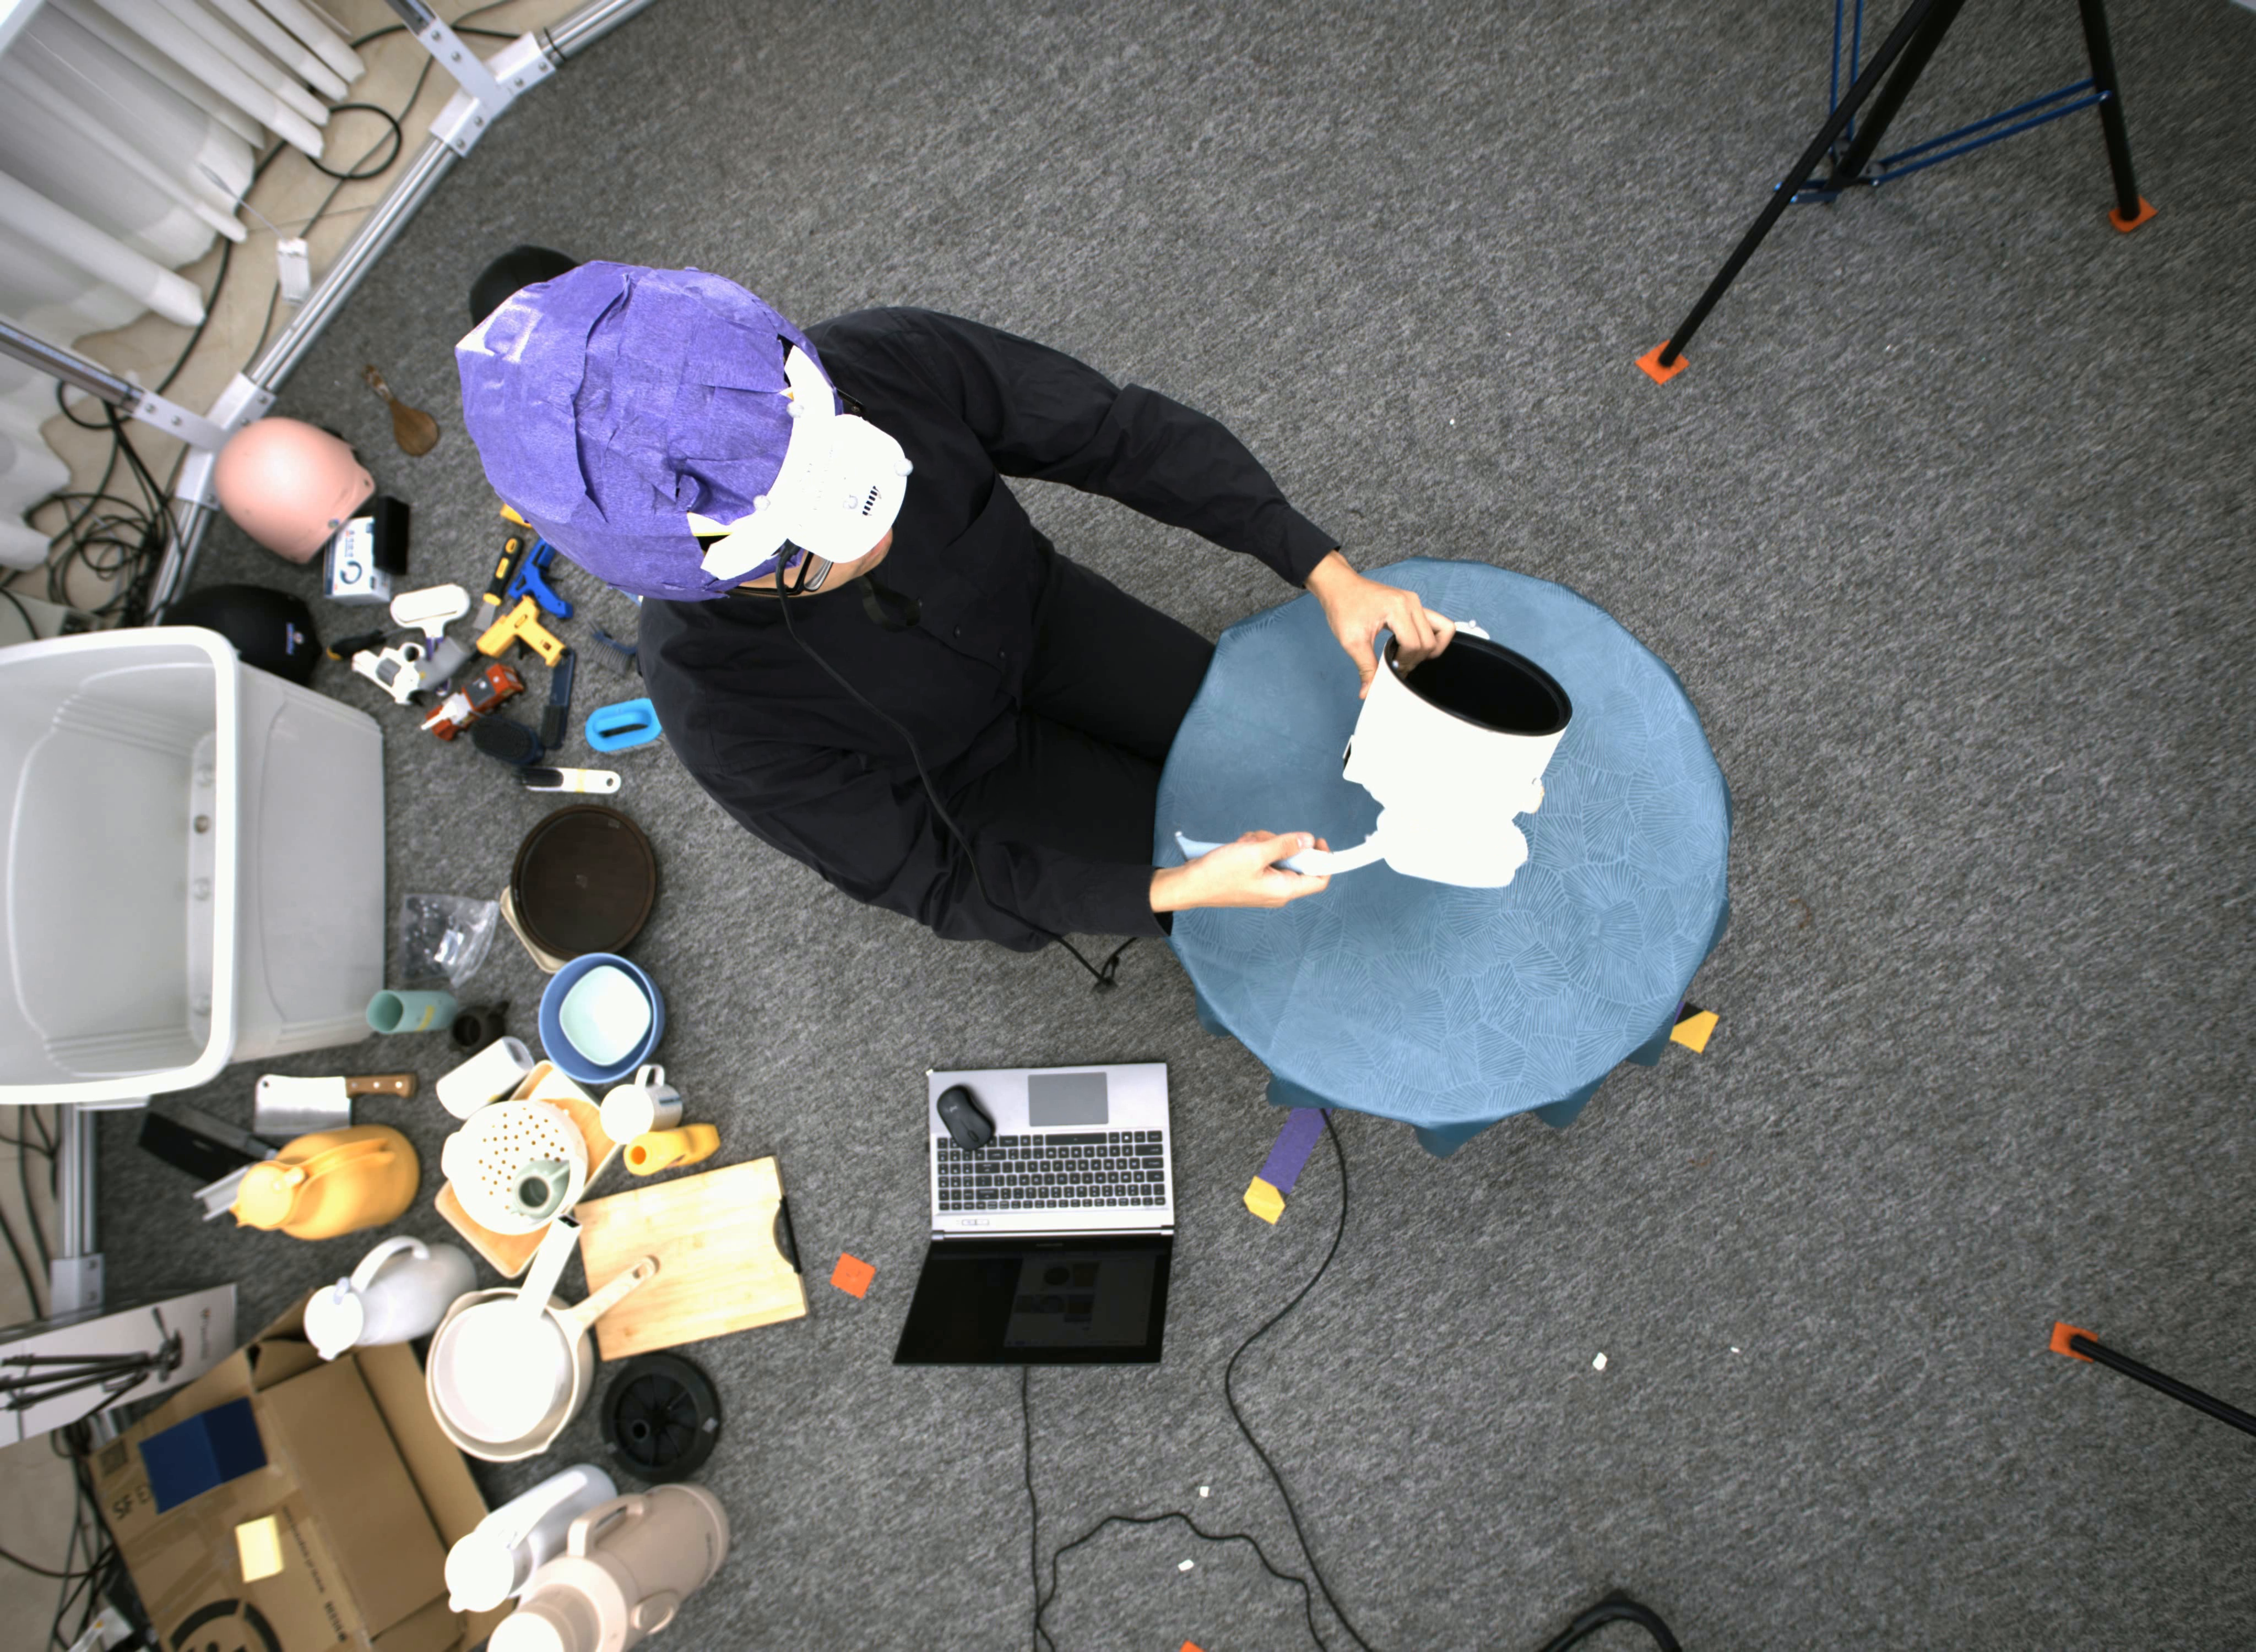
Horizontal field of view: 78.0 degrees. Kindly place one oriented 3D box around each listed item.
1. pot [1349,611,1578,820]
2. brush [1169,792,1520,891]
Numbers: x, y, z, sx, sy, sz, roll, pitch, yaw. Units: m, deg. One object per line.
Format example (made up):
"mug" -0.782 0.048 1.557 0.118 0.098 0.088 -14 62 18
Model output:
"pot" 0.319 -0.097 1.303 0.191 0.234 0.146 13 127 -2
"brush" 0.194 0.007 1.259 0.327 0.084 0.083 4 96 27
